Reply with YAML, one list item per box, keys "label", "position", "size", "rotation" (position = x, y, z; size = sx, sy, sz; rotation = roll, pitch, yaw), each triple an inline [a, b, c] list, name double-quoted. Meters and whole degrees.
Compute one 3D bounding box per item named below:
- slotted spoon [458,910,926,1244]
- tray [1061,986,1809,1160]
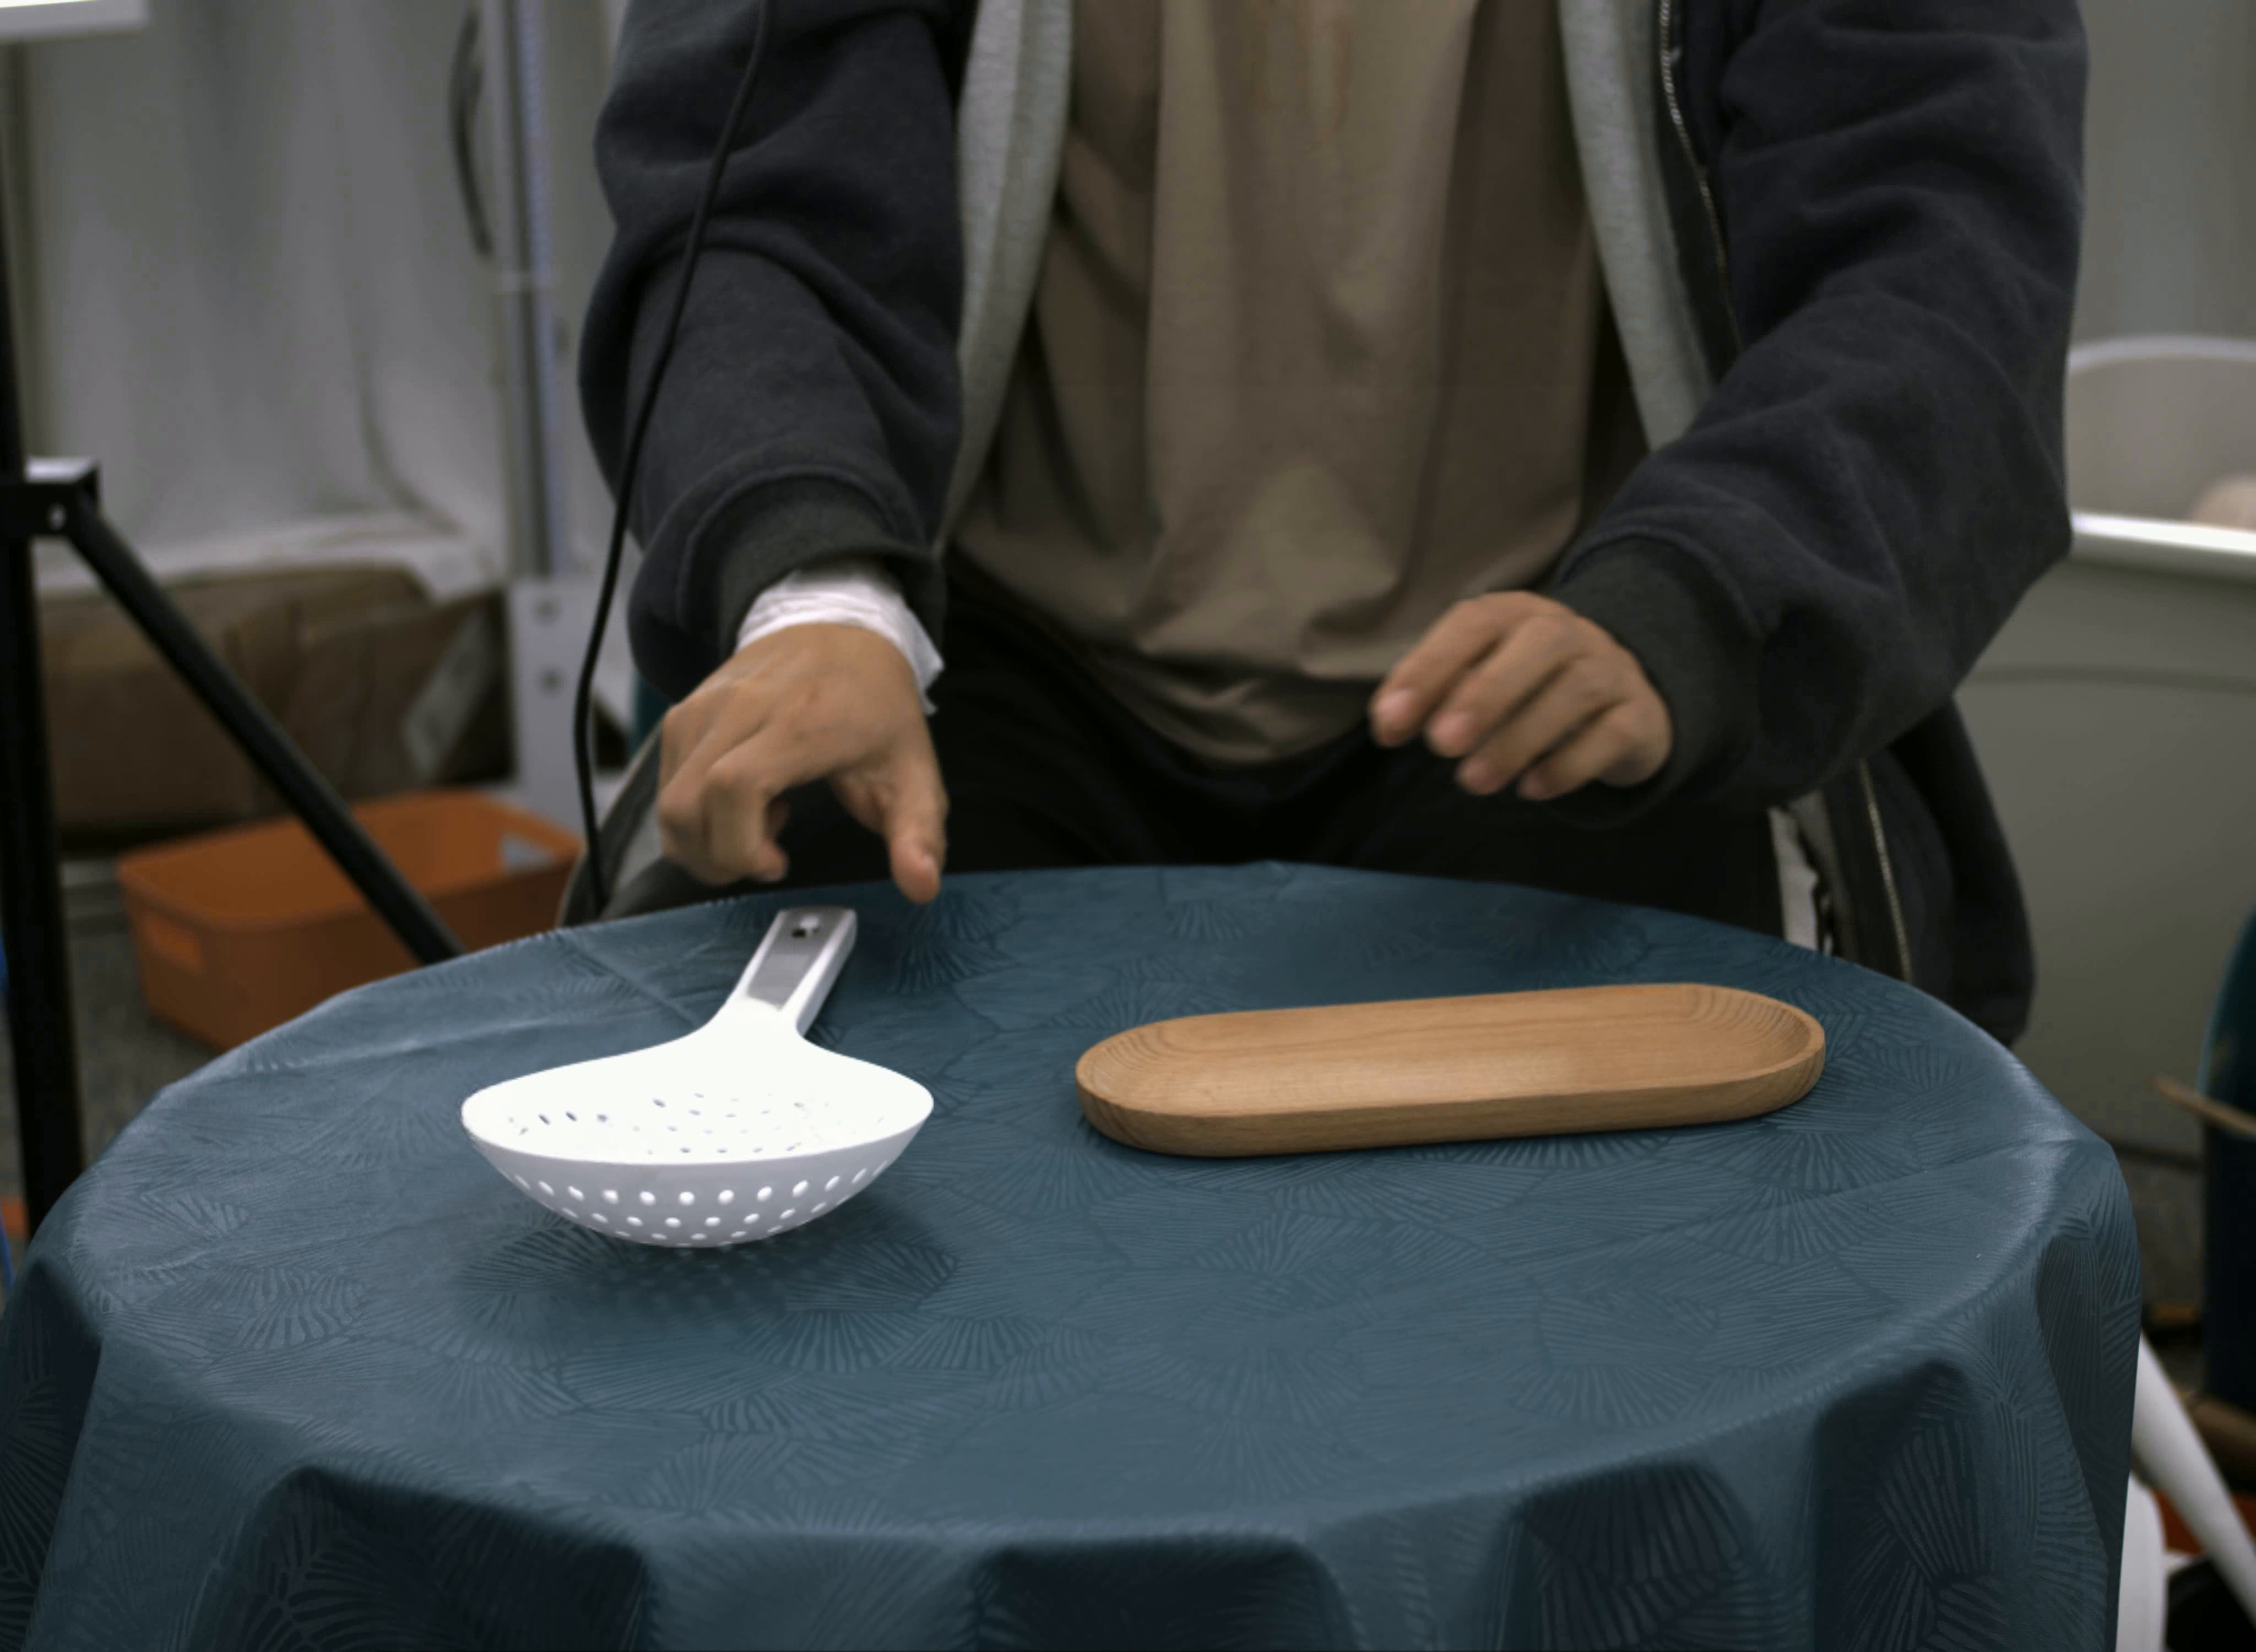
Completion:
- label: "slotted spoon"
  position: [-0.118, 0.067, 1.640]
  size: [0.136, 0.046, 0.350]
  rotation: [1, 15, 4]
- label: "tray"
  position: [0.095, 0.076, 1.626]
  size: [0.229, 0.020, 0.102]
  rotation: [-5, 15, -4]
